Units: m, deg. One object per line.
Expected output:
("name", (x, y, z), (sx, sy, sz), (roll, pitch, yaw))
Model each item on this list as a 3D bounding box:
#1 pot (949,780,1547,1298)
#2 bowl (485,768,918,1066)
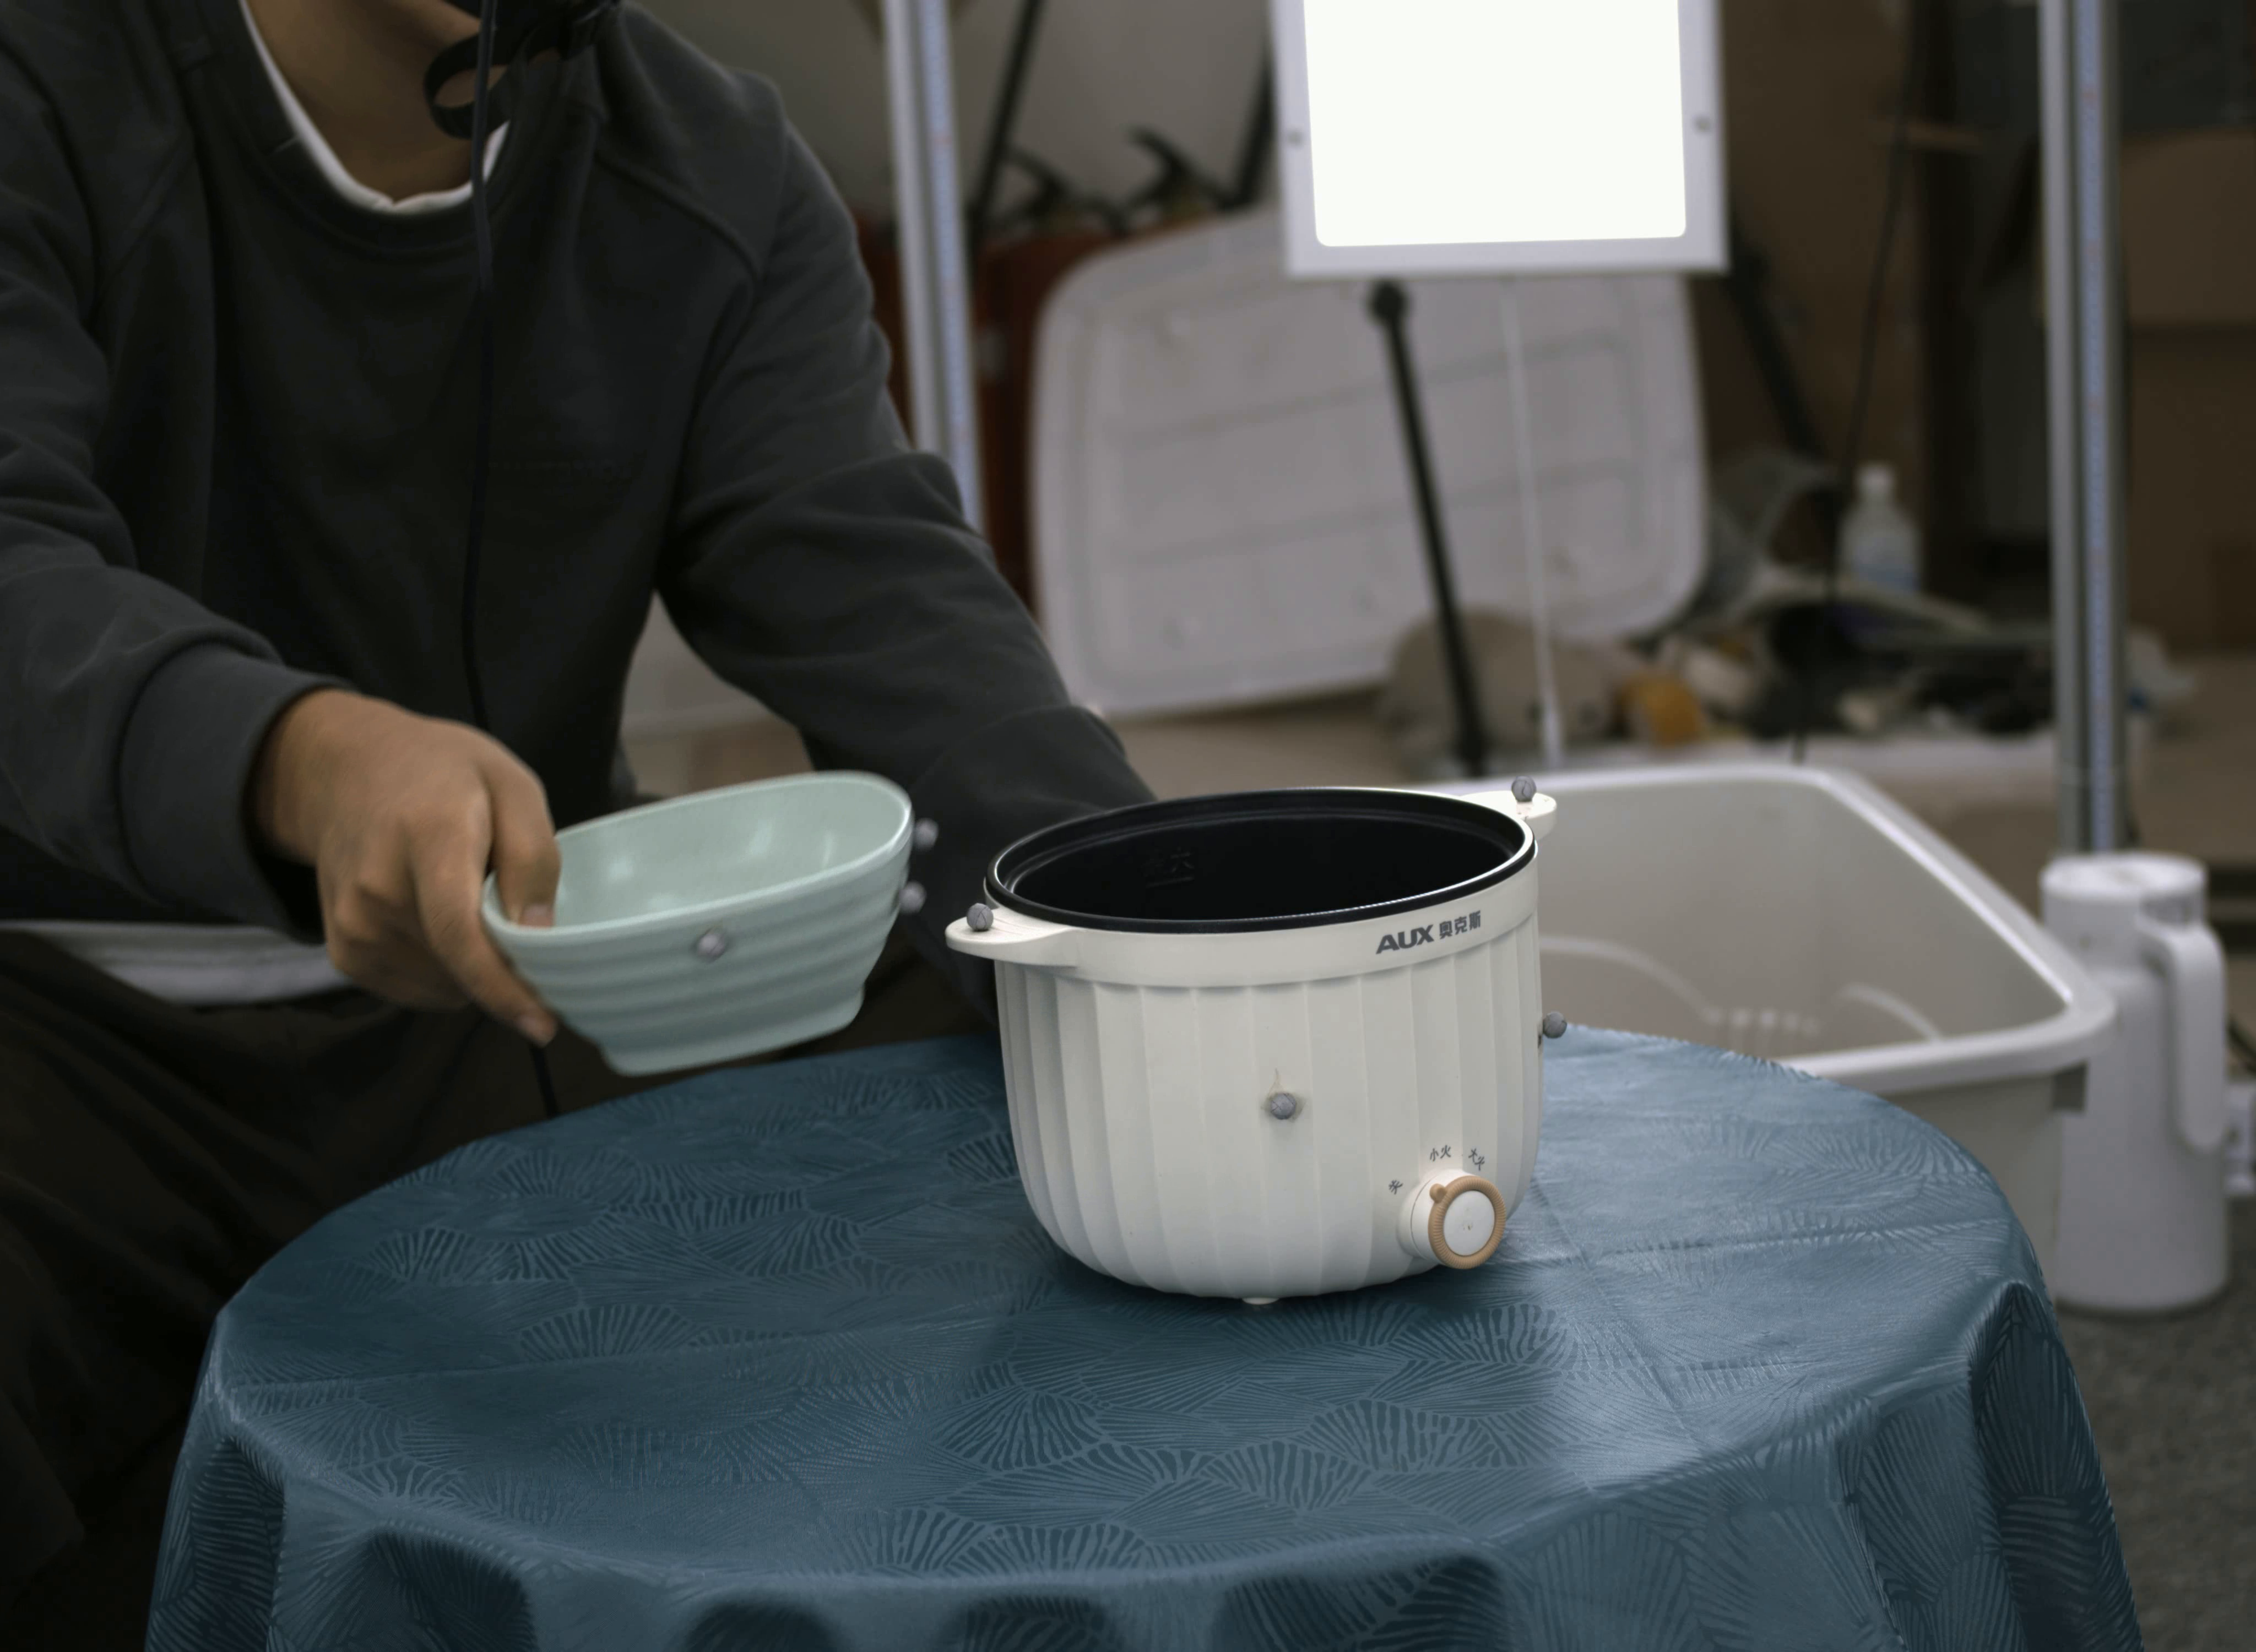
("pot", (0.052, 0.071, 1.809), (0.234, 0.143, 0.194), (-16, 14, -33))
("bowl", (-0.130, 0.032, 1.745), (0.151, 0.059, 0.151), (-11, 16, 2))
